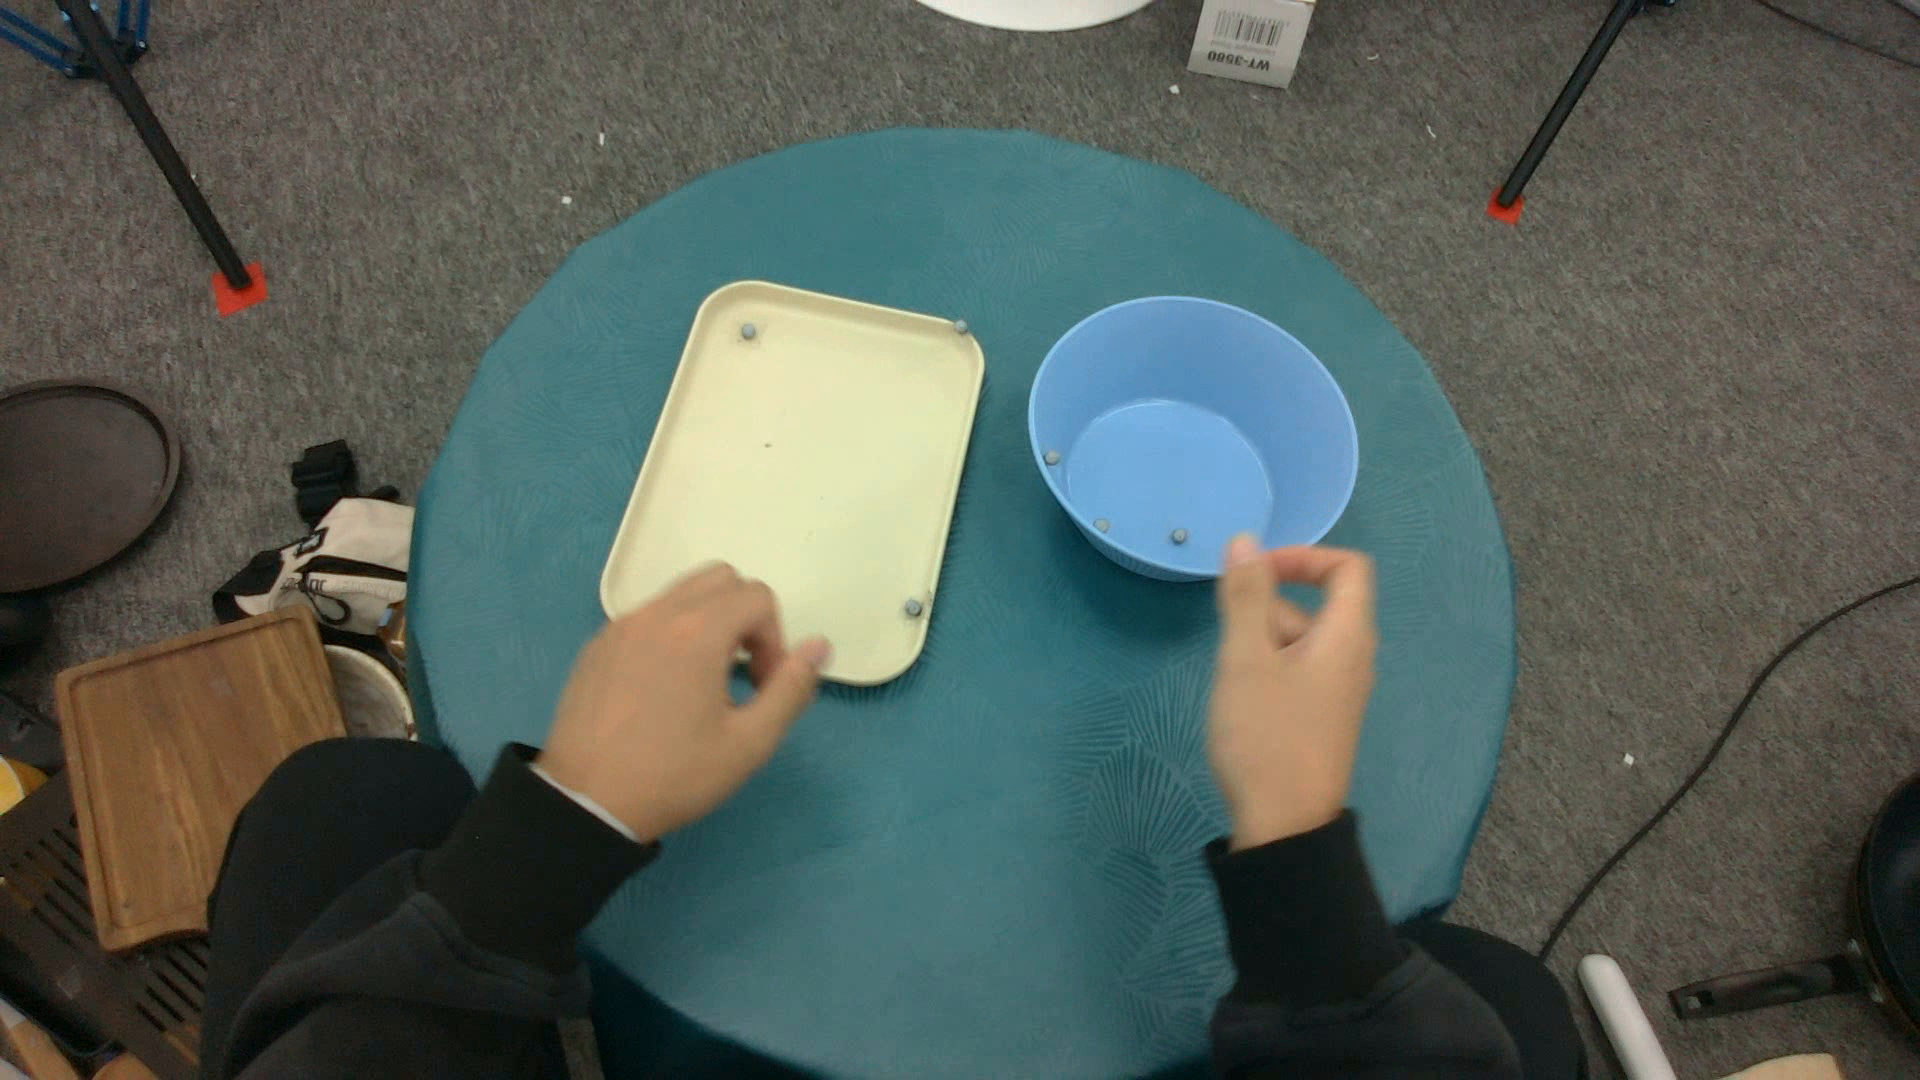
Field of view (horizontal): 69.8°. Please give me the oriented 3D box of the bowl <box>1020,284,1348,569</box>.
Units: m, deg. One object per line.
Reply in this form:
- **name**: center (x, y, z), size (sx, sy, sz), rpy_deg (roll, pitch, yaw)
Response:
- **bowl**: center (0.116, -0.051, 0.754), size (0.176, 0.070, 0.177), rpy_deg (2, 61, -4)

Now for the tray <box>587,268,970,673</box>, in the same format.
- **tray**: center (-0.093, -0.044, 0.756), size (0.171, 0.017, 0.241), rpy_deg (12, 60, 1)
